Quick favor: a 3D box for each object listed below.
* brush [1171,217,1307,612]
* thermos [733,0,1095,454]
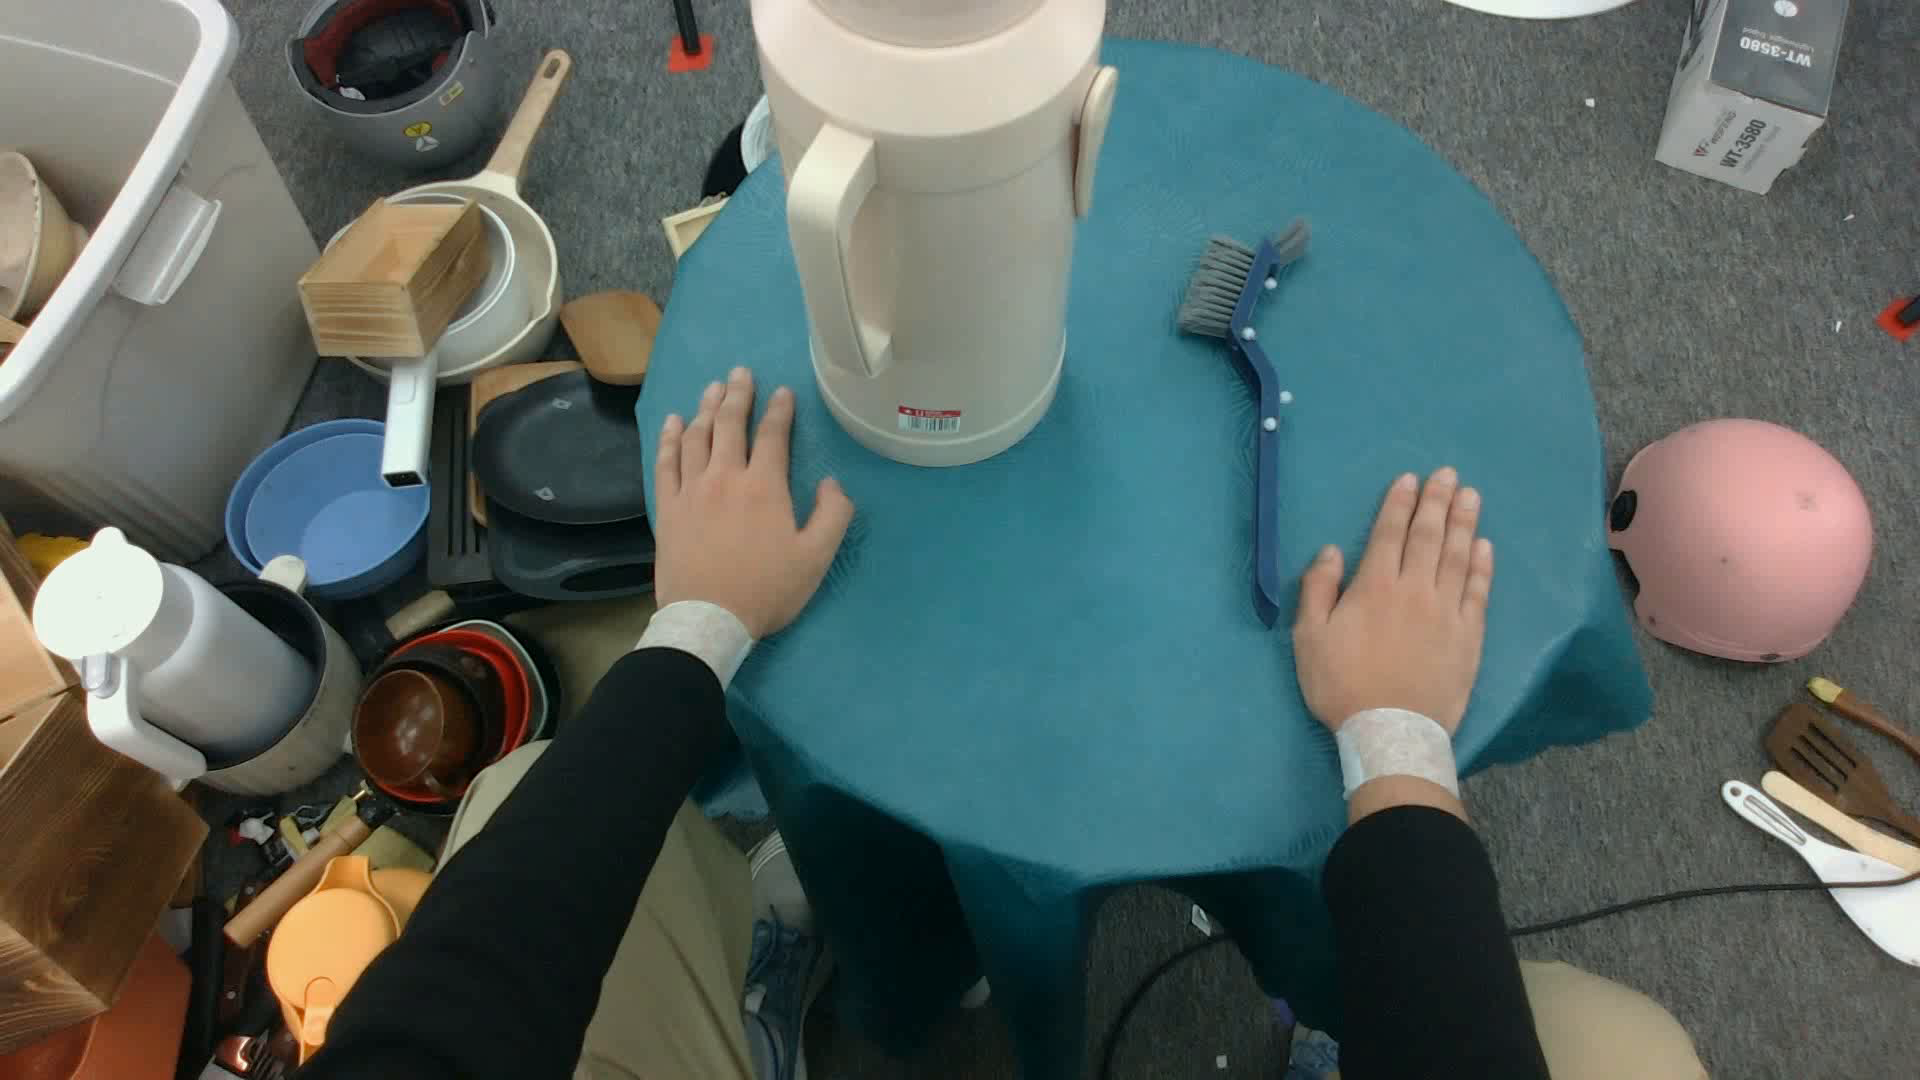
[{"bbox_3d":[0.186,-0.086,0.845,0.096,0.033,0.274,-3,63,-1],"label":"brush"},{"bbox_3d":[-0.032,-0.193,0.693,0.175,0.404,0.208,23,67,8],"label":"thermos"}]
